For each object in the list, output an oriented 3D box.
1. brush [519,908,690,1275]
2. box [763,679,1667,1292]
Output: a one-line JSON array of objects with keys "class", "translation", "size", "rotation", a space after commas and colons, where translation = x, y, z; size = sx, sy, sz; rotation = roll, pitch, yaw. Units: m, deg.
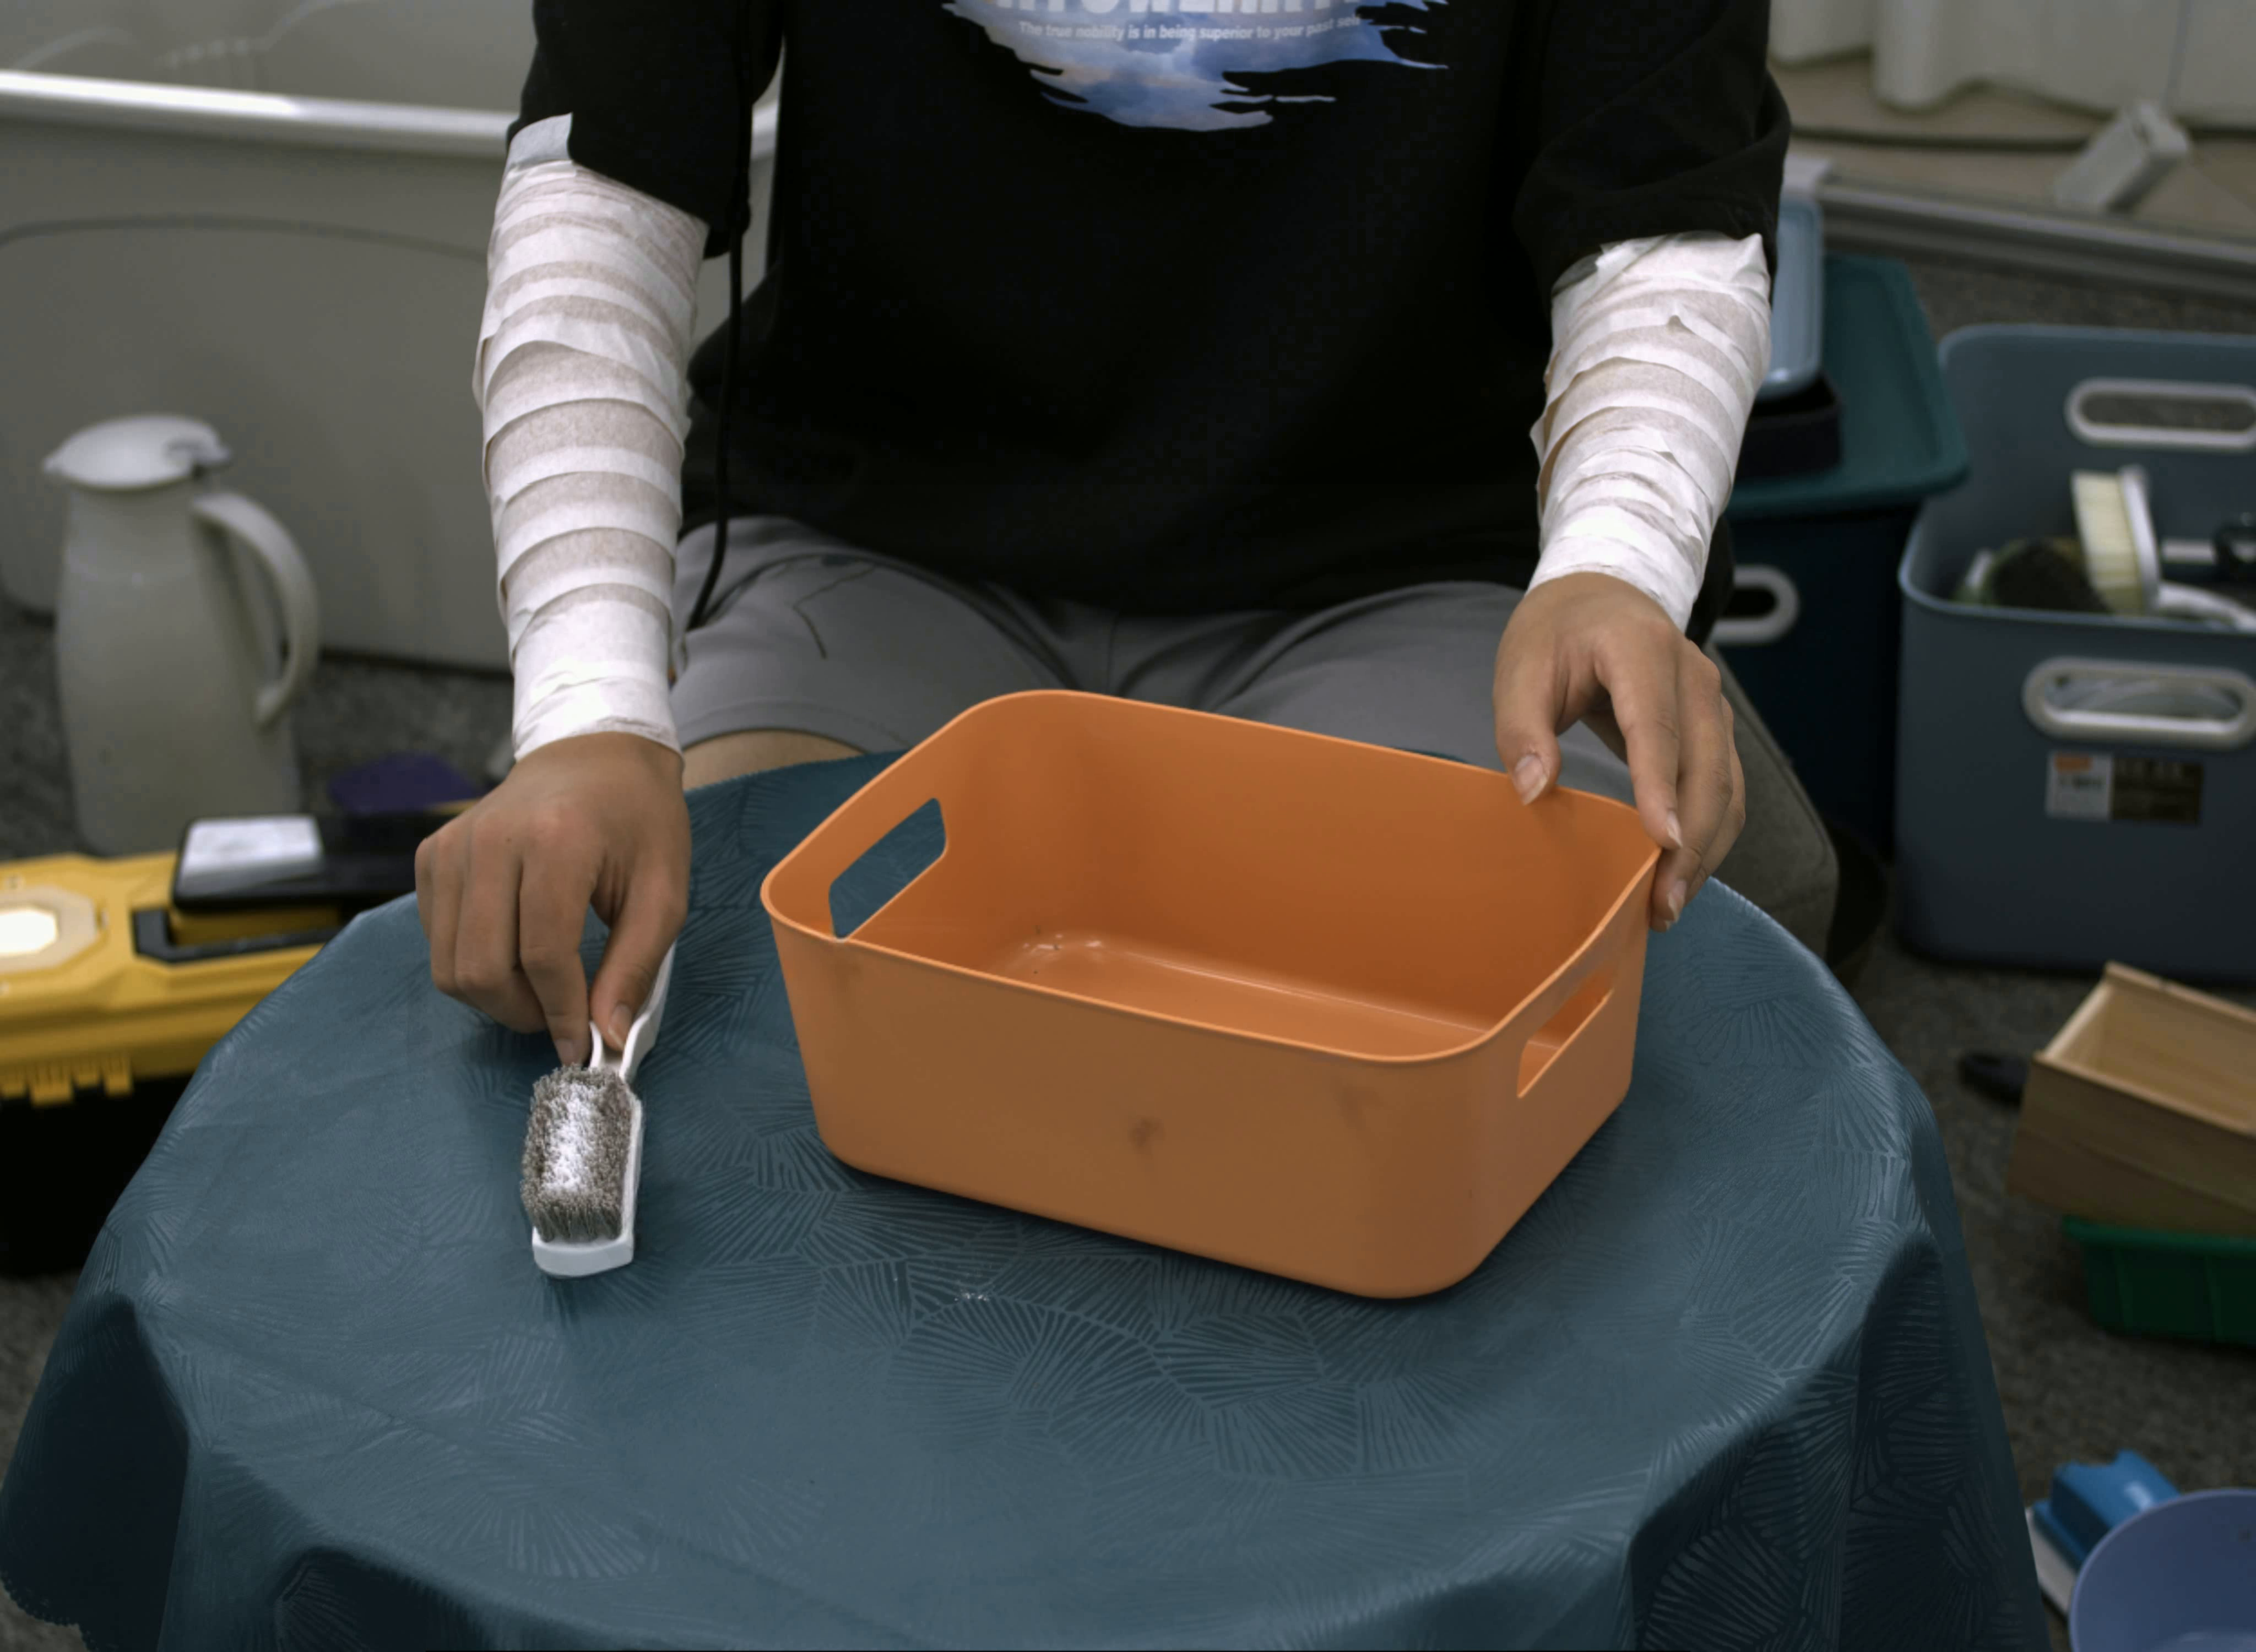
[{"class": "brush", "translation": [-0.176, 0.073, 1.919], "size": [0.034, 0.049, 0.247], "rotation": [-1, 28, 4]}, {"class": "box", "translation": [0.032, 0.052, 1.877], "size": [0.271, 0.101, 0.203], "rotation": [12, 31, 26]}]
